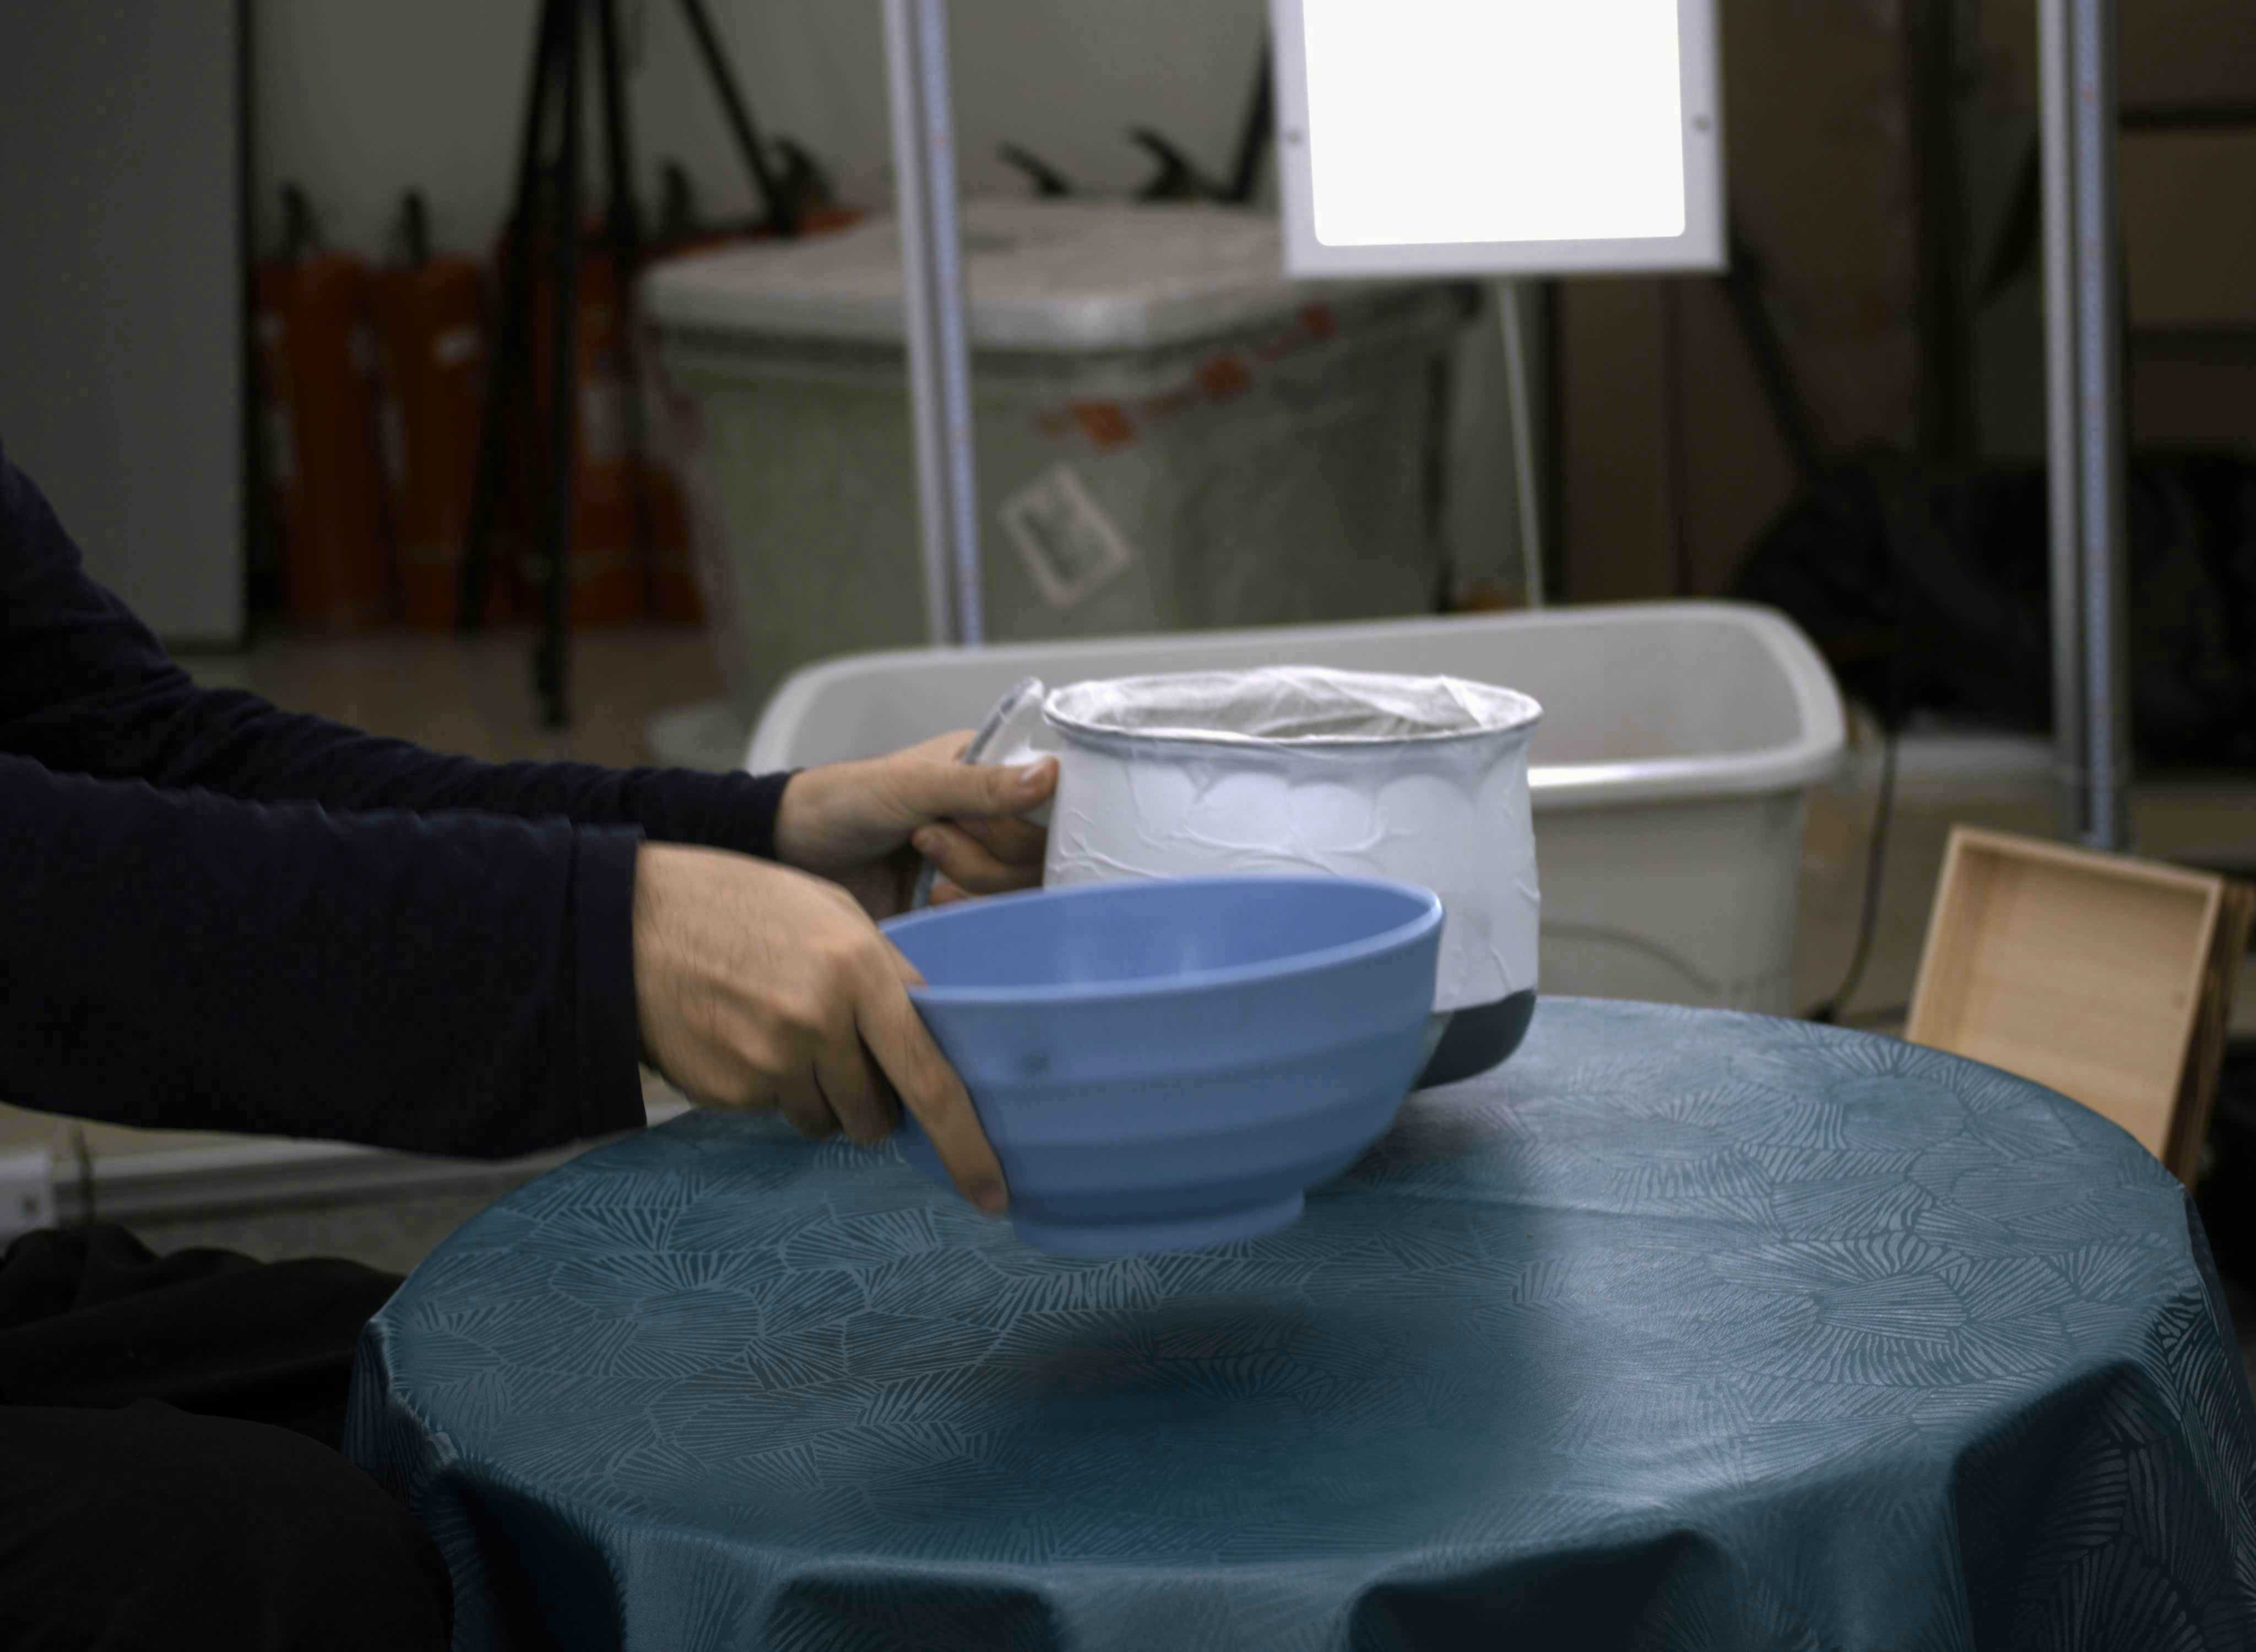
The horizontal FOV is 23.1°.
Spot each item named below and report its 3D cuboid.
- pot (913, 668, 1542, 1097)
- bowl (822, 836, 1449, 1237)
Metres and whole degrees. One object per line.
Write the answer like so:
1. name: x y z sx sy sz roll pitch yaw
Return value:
1. pot: 0.031 0.016 1.954 0.237 0.137 0.175 4 8 21
2. bowl: 0.005 0.070 1.720 0.196 0.096 0.196 -4 13 -1
